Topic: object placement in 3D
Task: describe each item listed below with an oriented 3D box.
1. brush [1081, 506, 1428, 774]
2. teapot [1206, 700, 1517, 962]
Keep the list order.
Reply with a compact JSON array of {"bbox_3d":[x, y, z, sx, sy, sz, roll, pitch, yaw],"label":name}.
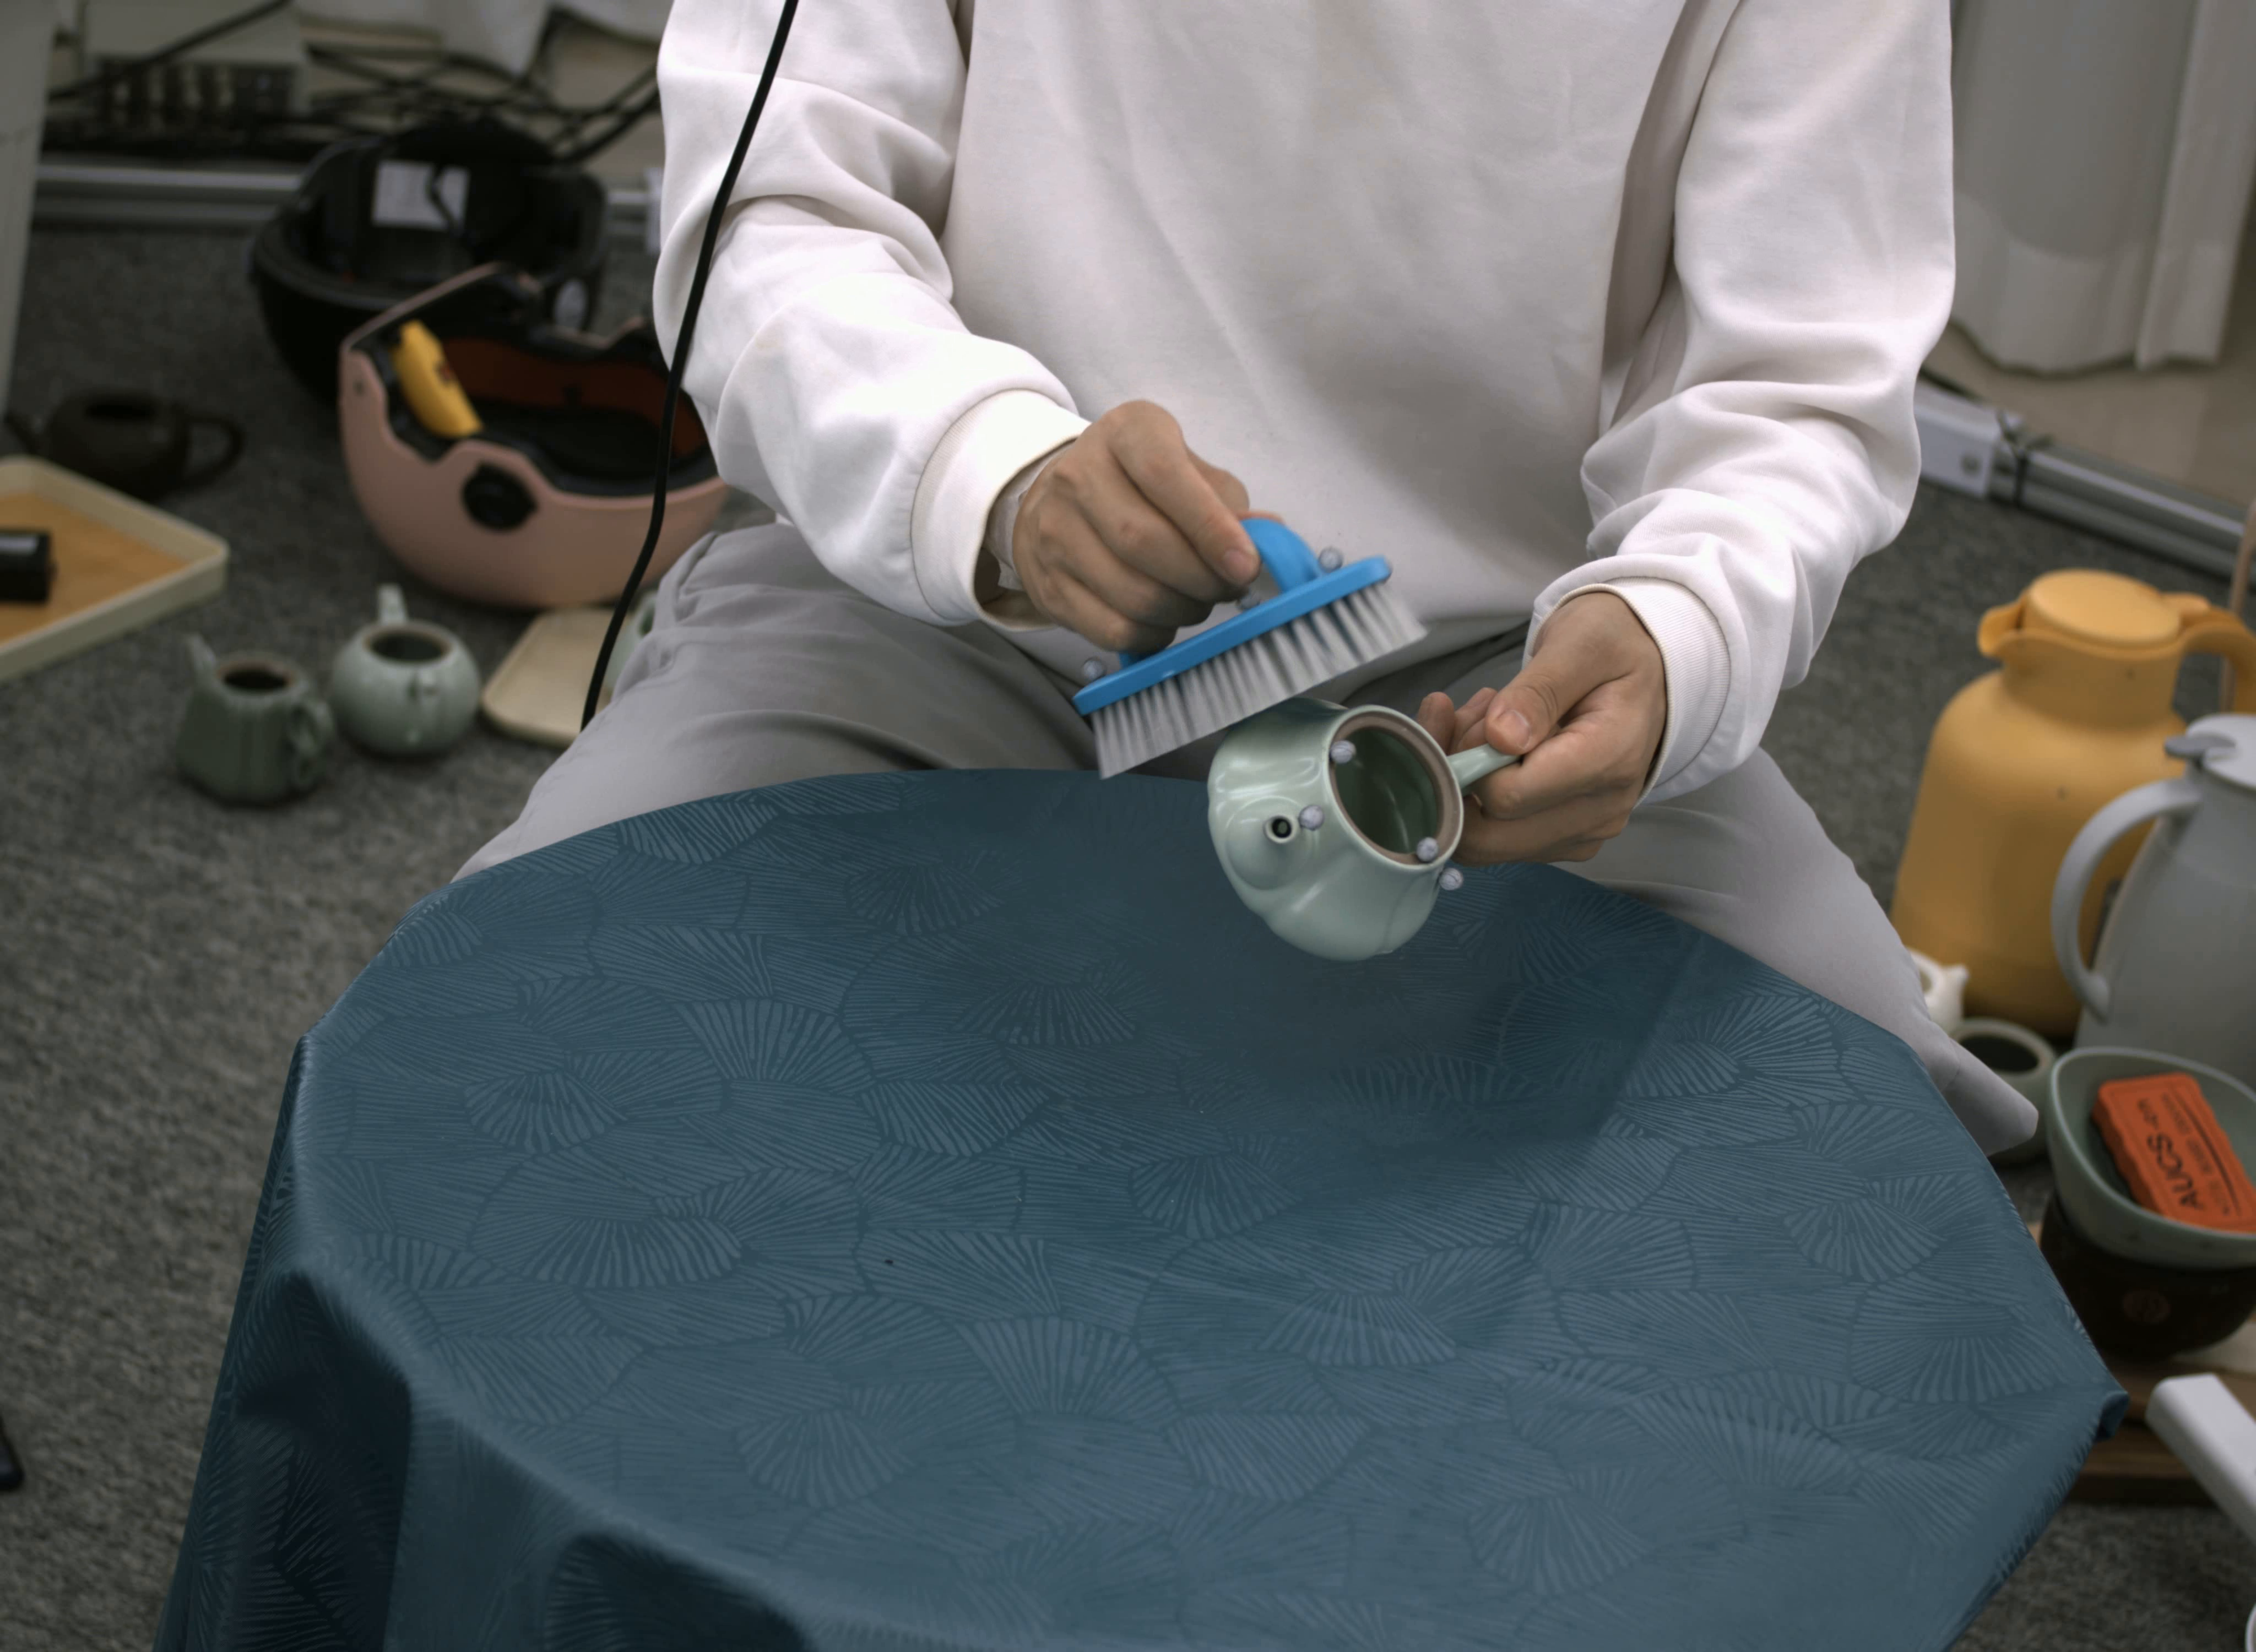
[{"bbox_3d":[0.035,-0.072,1.865,0.142,0.064,0.084,-25,7,46],"label":"brush"},{"bbox_3d":[0.079,-0.005,1.845,0.136,0.061,0.096,-21,80,-42],"label":"teapot"}]
